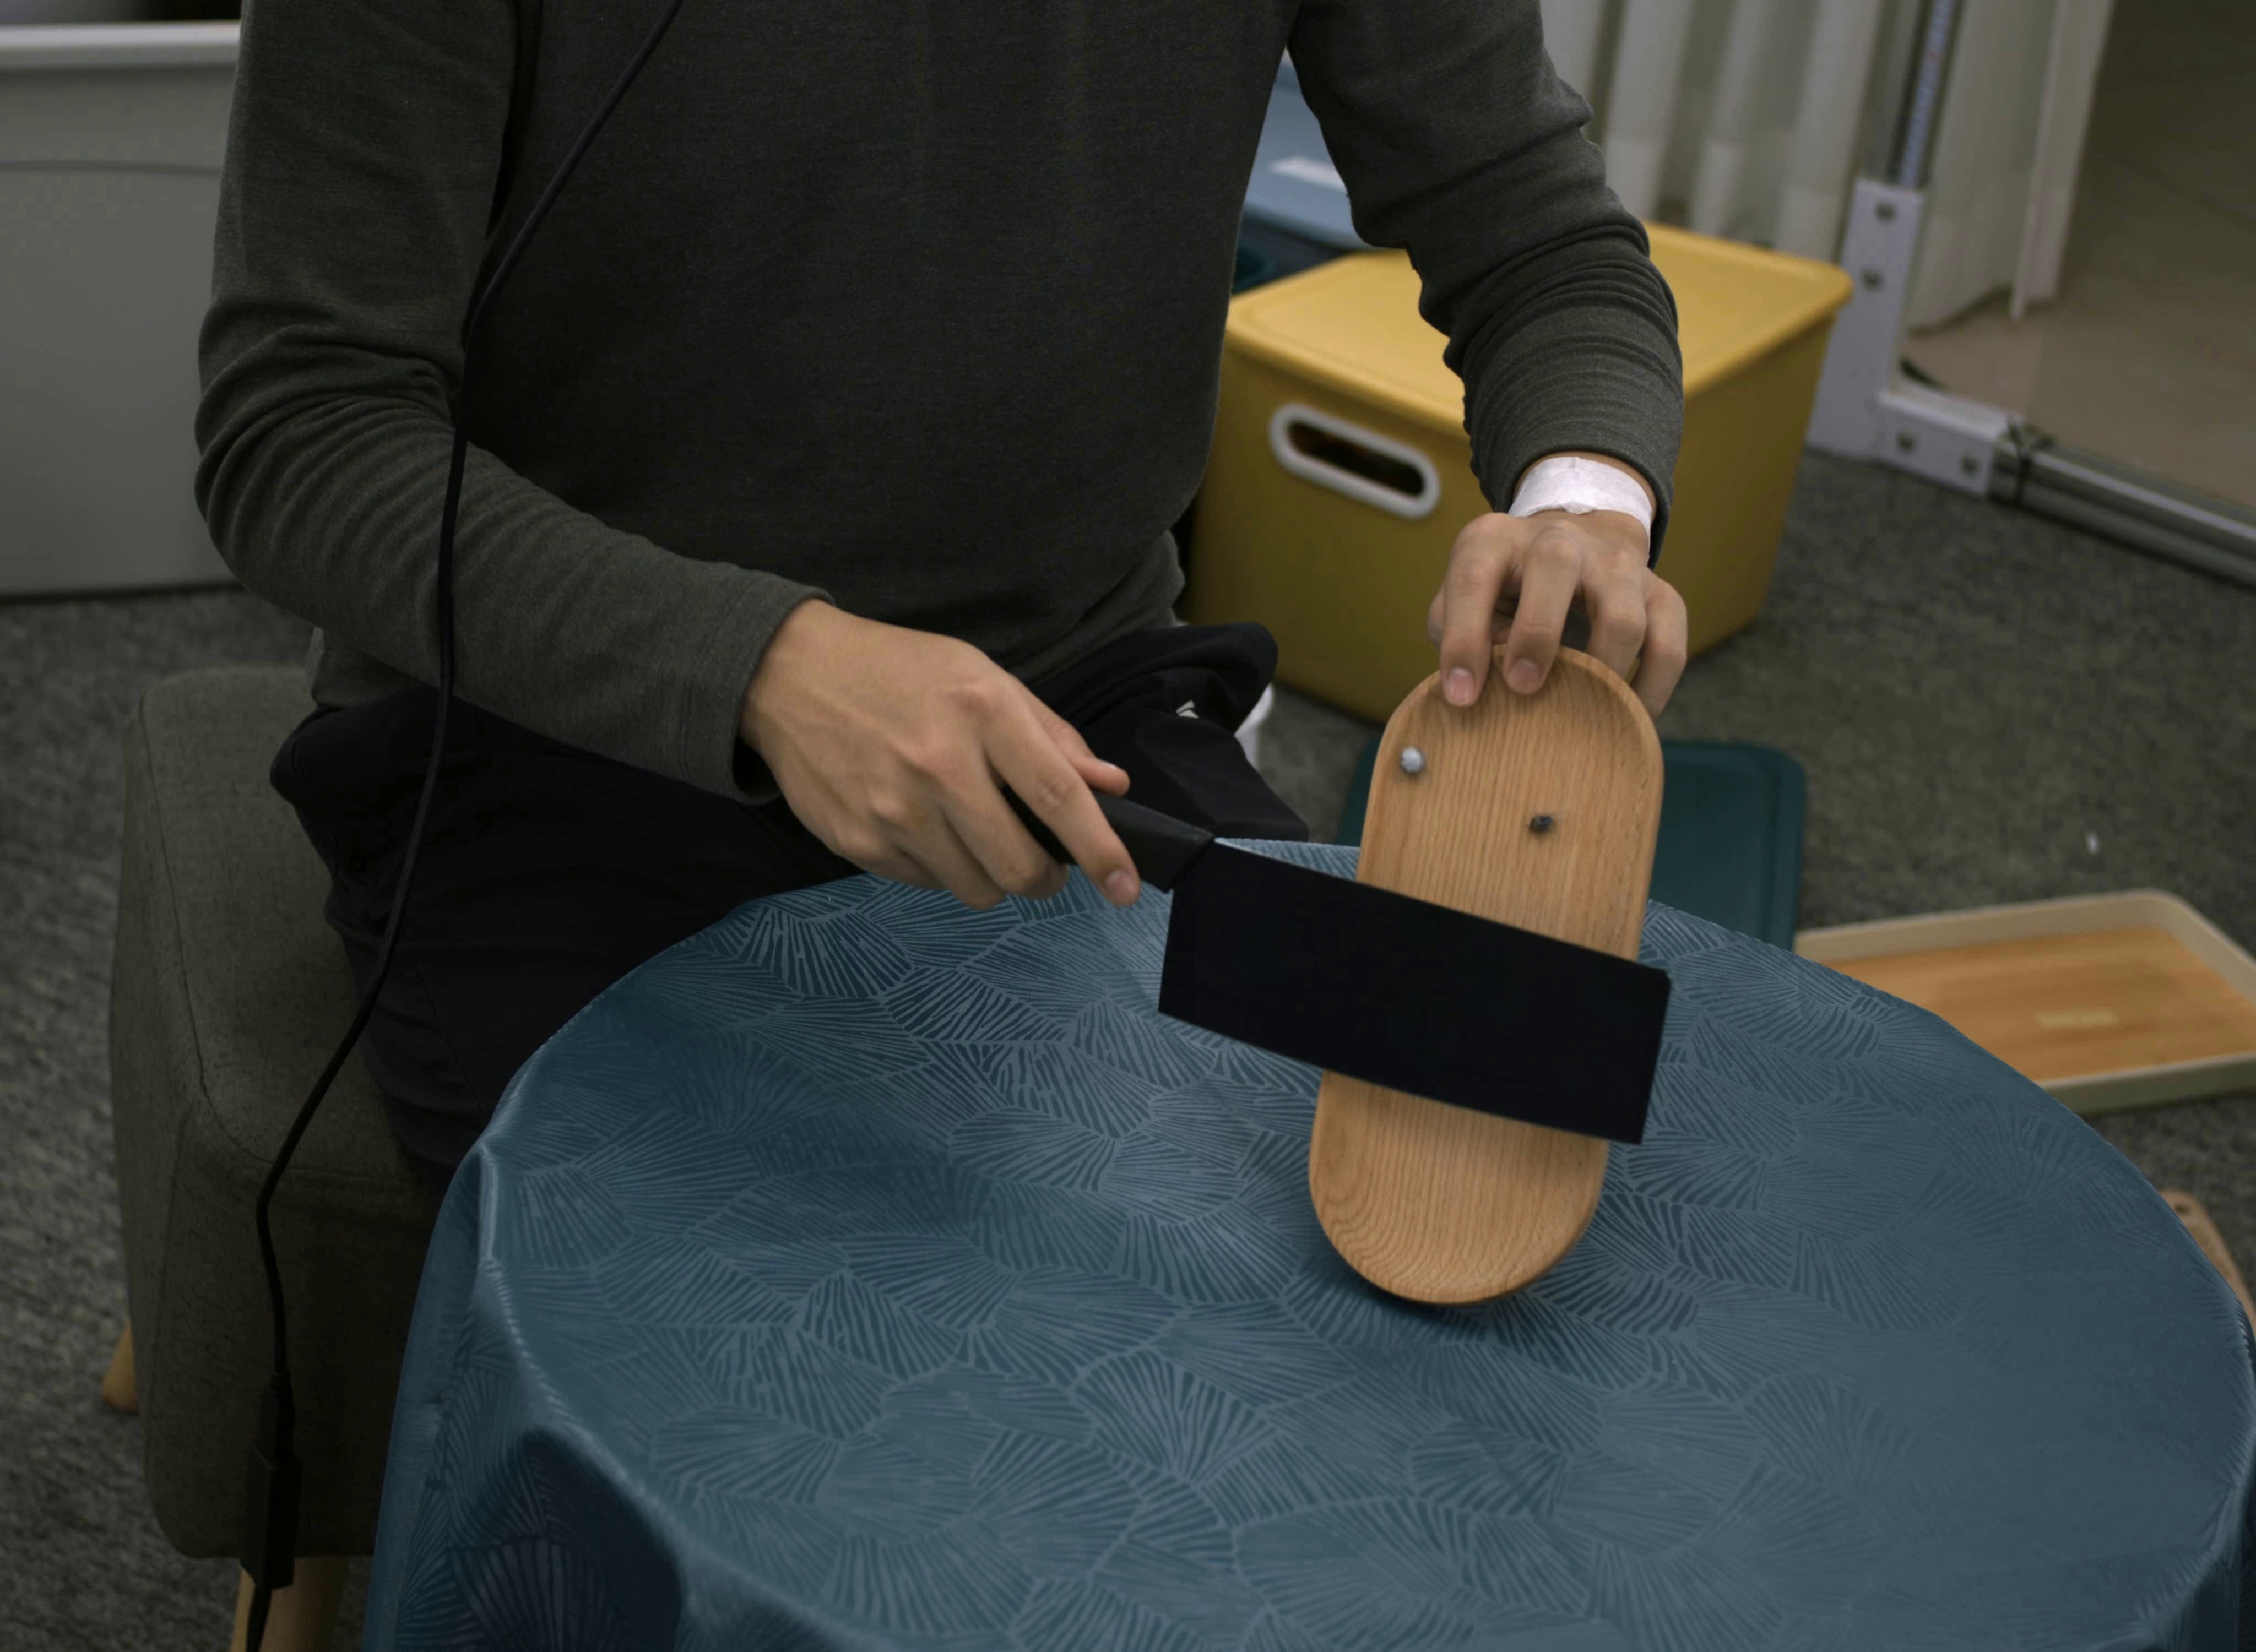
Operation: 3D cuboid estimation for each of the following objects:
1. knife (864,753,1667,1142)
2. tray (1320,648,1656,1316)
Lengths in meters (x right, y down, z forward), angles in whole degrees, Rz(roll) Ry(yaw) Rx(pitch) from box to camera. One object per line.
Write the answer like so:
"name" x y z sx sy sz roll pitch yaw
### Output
"knife" 0.041 0.036 1.776 0.304 0.081 0.021 21 18 25
"tray" 0.122 0.051 1.781 0.102 0.232 0.020 0 -17 21
